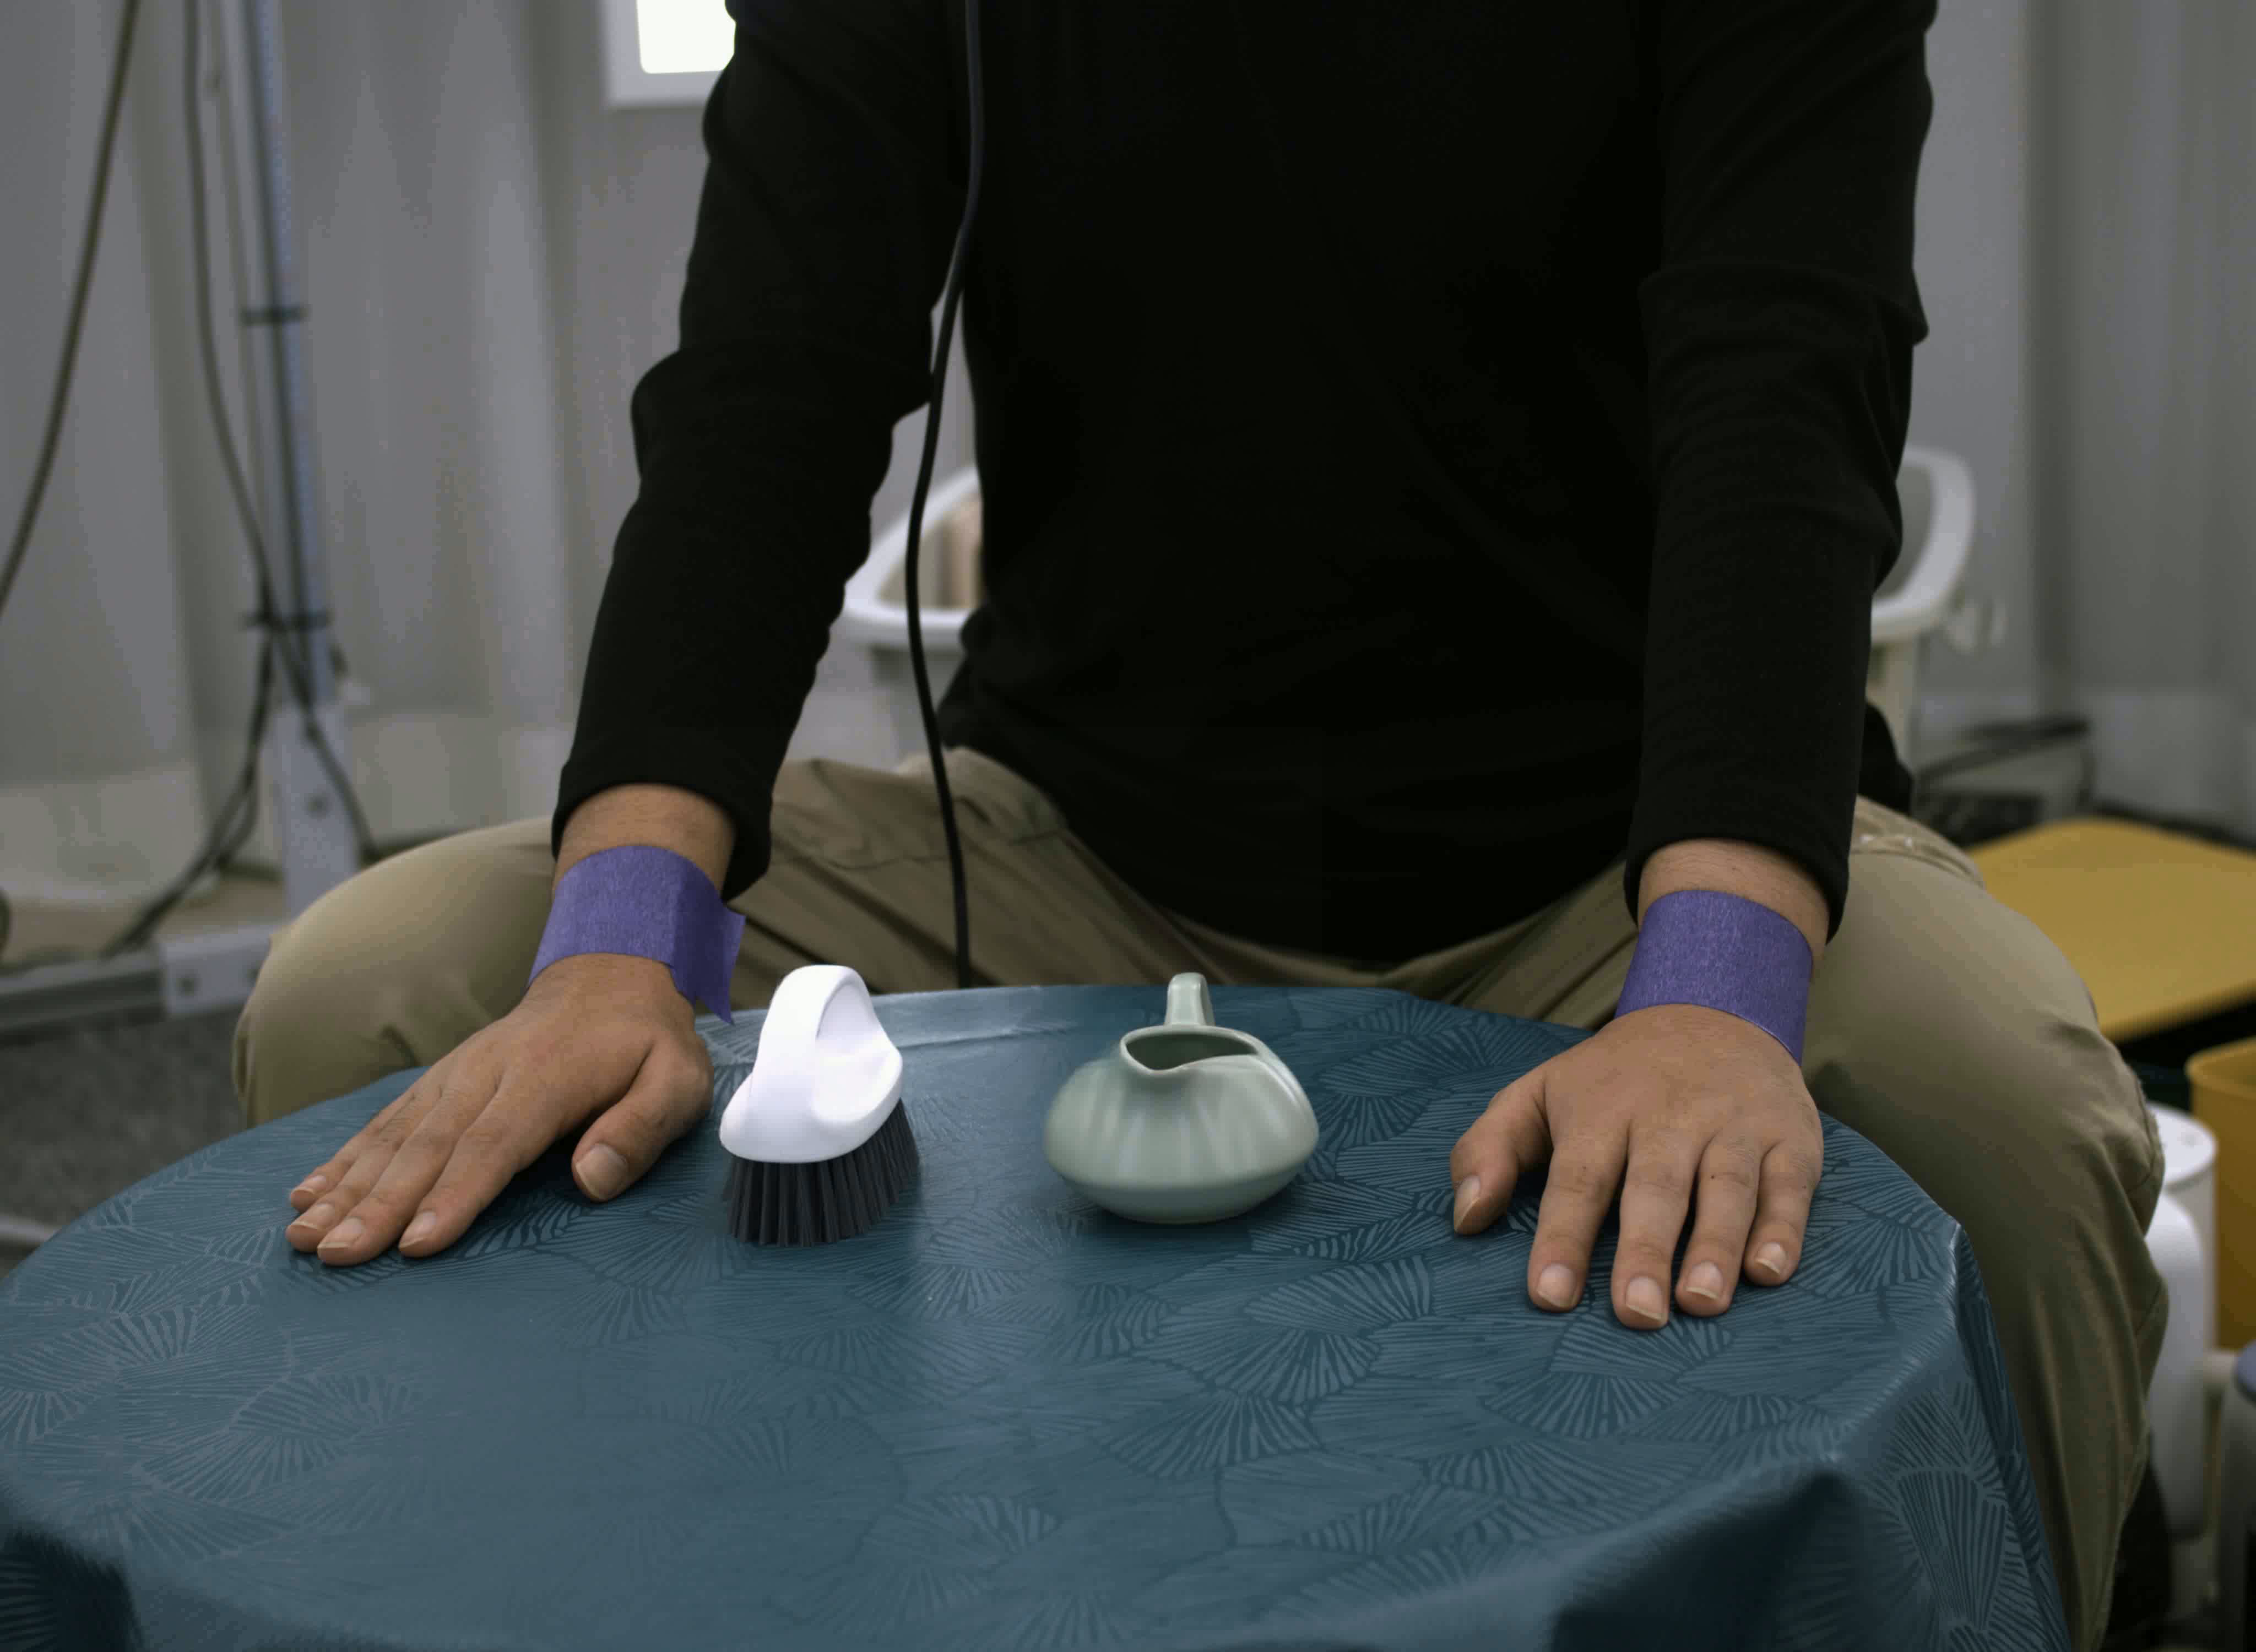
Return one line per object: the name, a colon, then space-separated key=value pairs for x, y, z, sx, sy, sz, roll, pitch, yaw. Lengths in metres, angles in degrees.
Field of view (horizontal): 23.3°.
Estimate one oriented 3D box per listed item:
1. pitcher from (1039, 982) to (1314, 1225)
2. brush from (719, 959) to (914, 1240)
pitcher: x=0.016 y=0.087 z=1.709 sx=0.086 sy=0.060 sz=0.108 roll=-1 pitch=12 yaw=4
brush: x=-0.099 y=0.081 z=1.718 sx=0.050 sy=0.072 sz=0.100 roll=1 pitch=16 yaw=13
